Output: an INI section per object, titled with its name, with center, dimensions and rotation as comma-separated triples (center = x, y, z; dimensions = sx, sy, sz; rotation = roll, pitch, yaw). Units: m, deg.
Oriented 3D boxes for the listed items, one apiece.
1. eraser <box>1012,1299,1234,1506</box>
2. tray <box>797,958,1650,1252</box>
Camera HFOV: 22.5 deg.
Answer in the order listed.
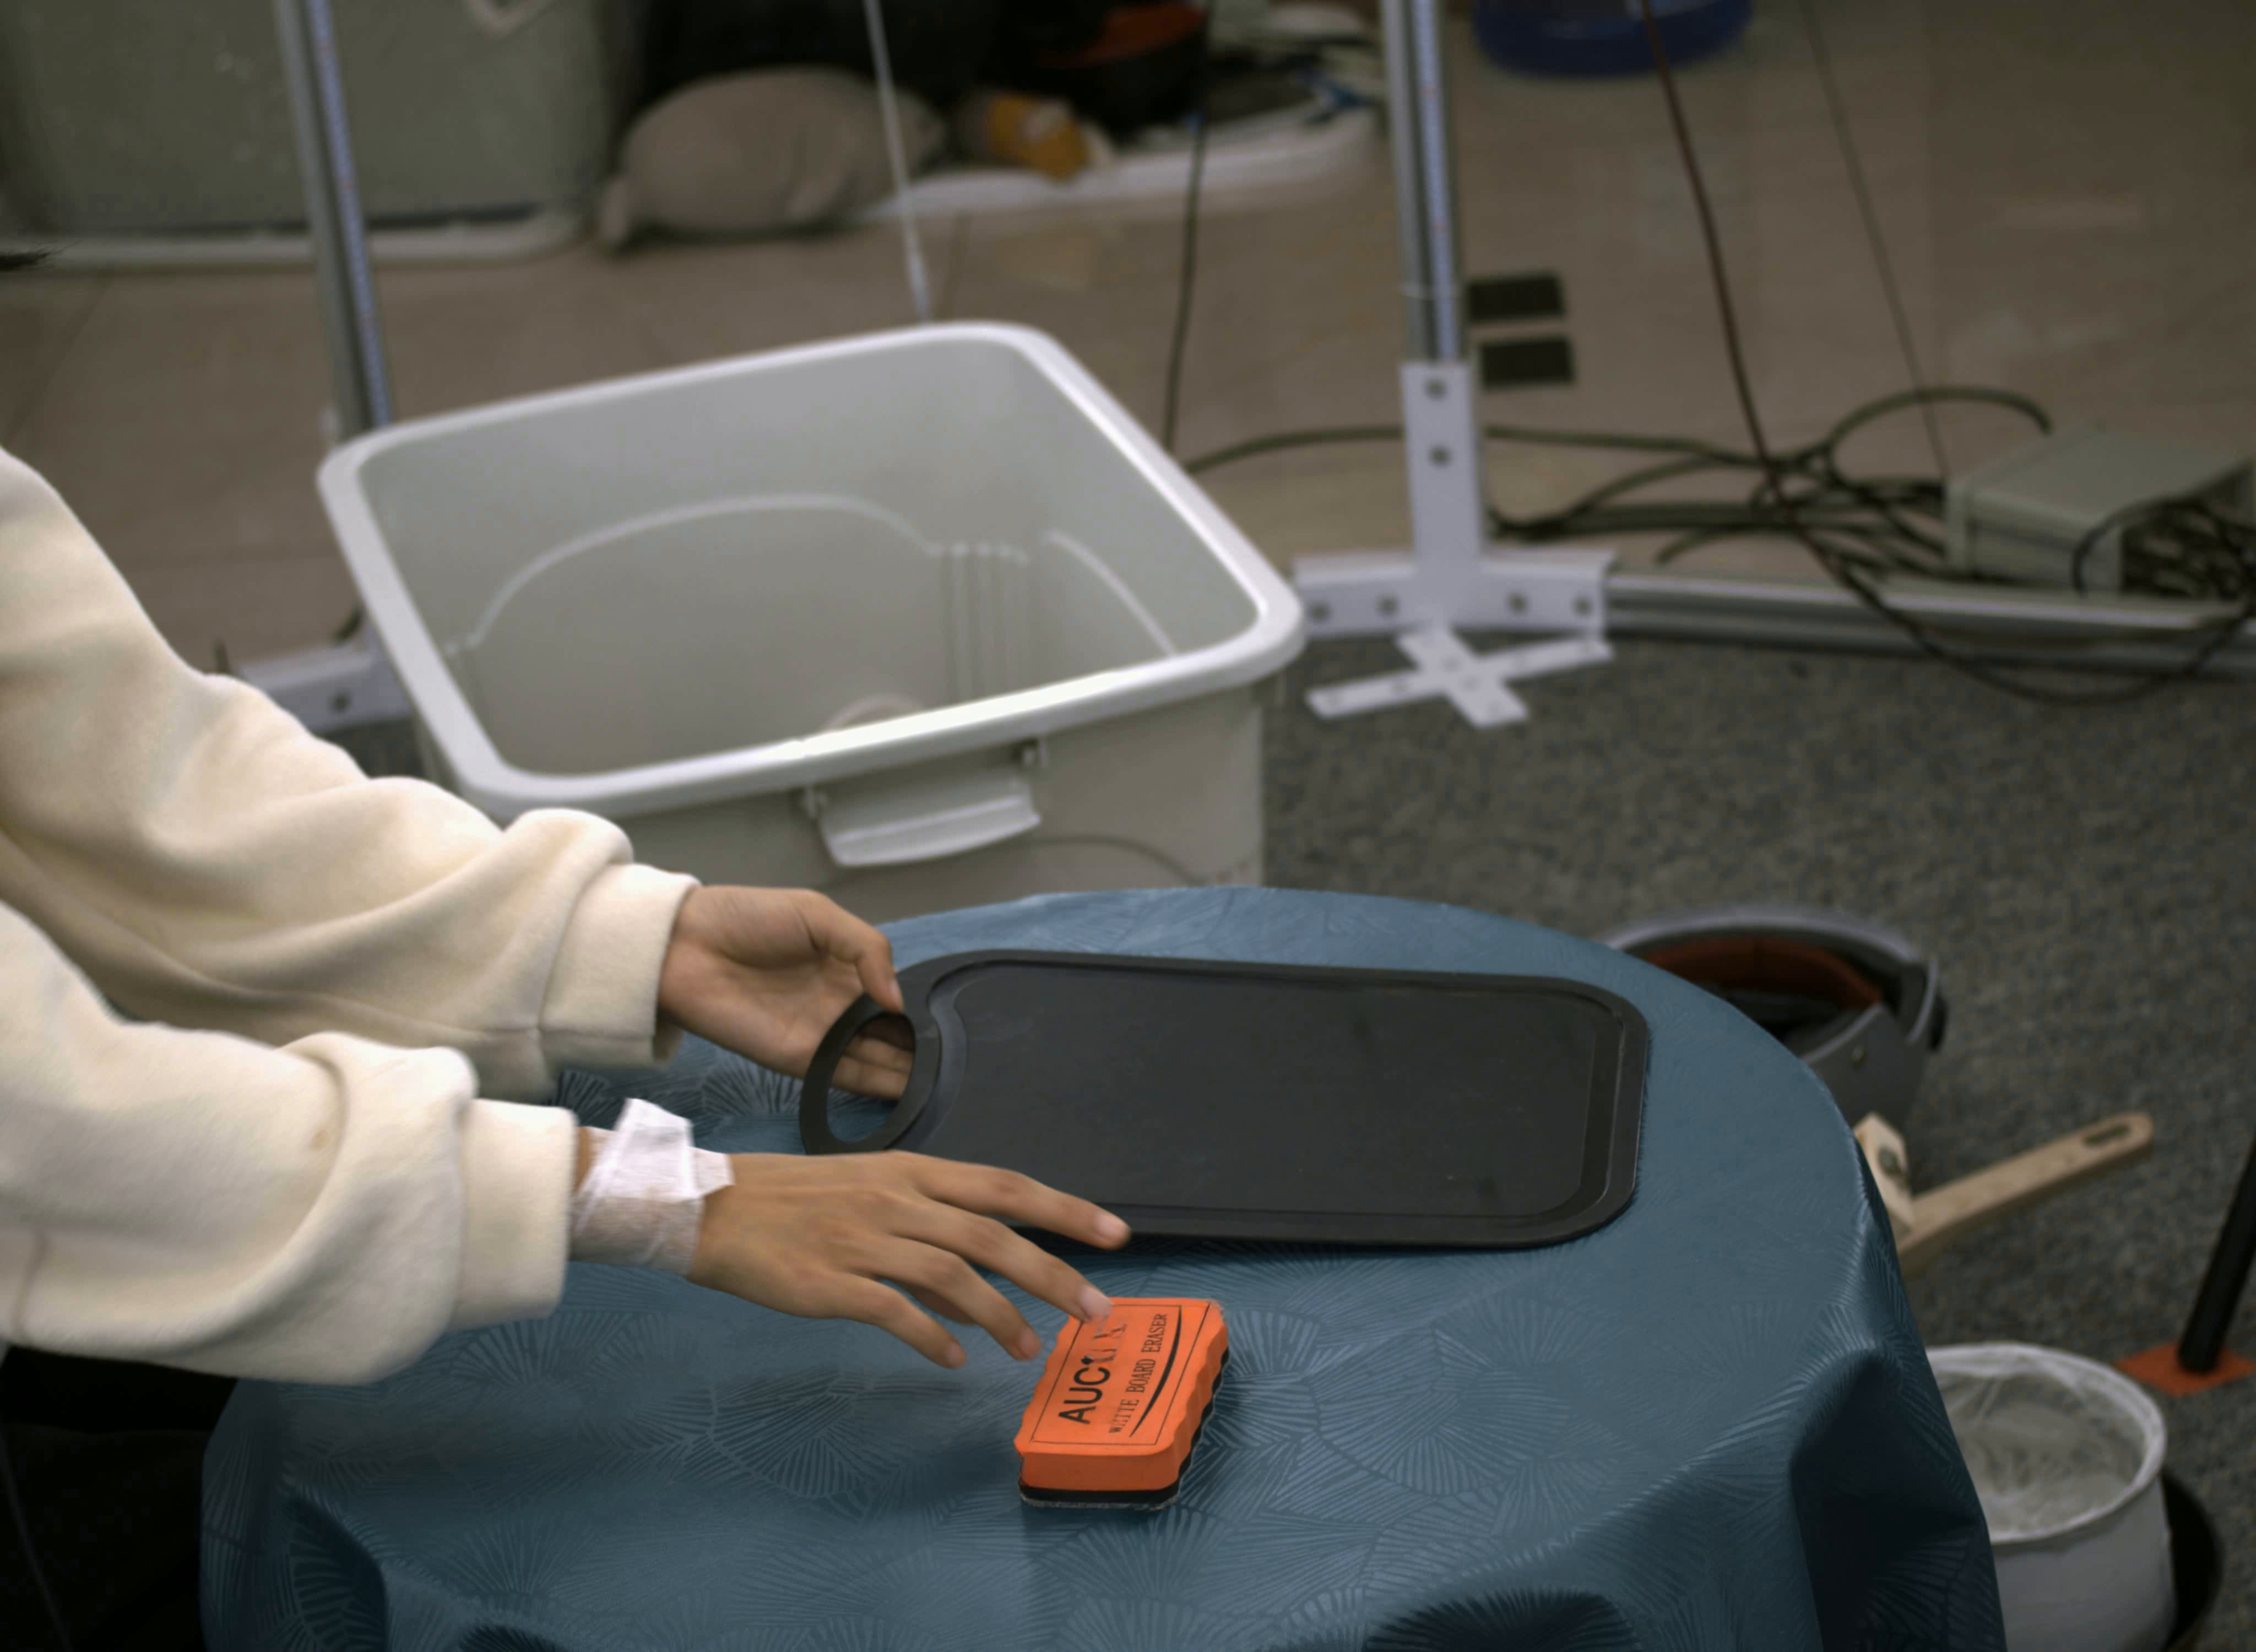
[eraser]
center = -0.001, 0.201, 1.987
dimensions = 0.059, 0.023, 0.106
rotation = -2, 25, 15
[tray]
center = 0.035, 0.103, 2.180
dimensions = 0.325, 0.010, 0.208
rotation = 2, 27, 8
